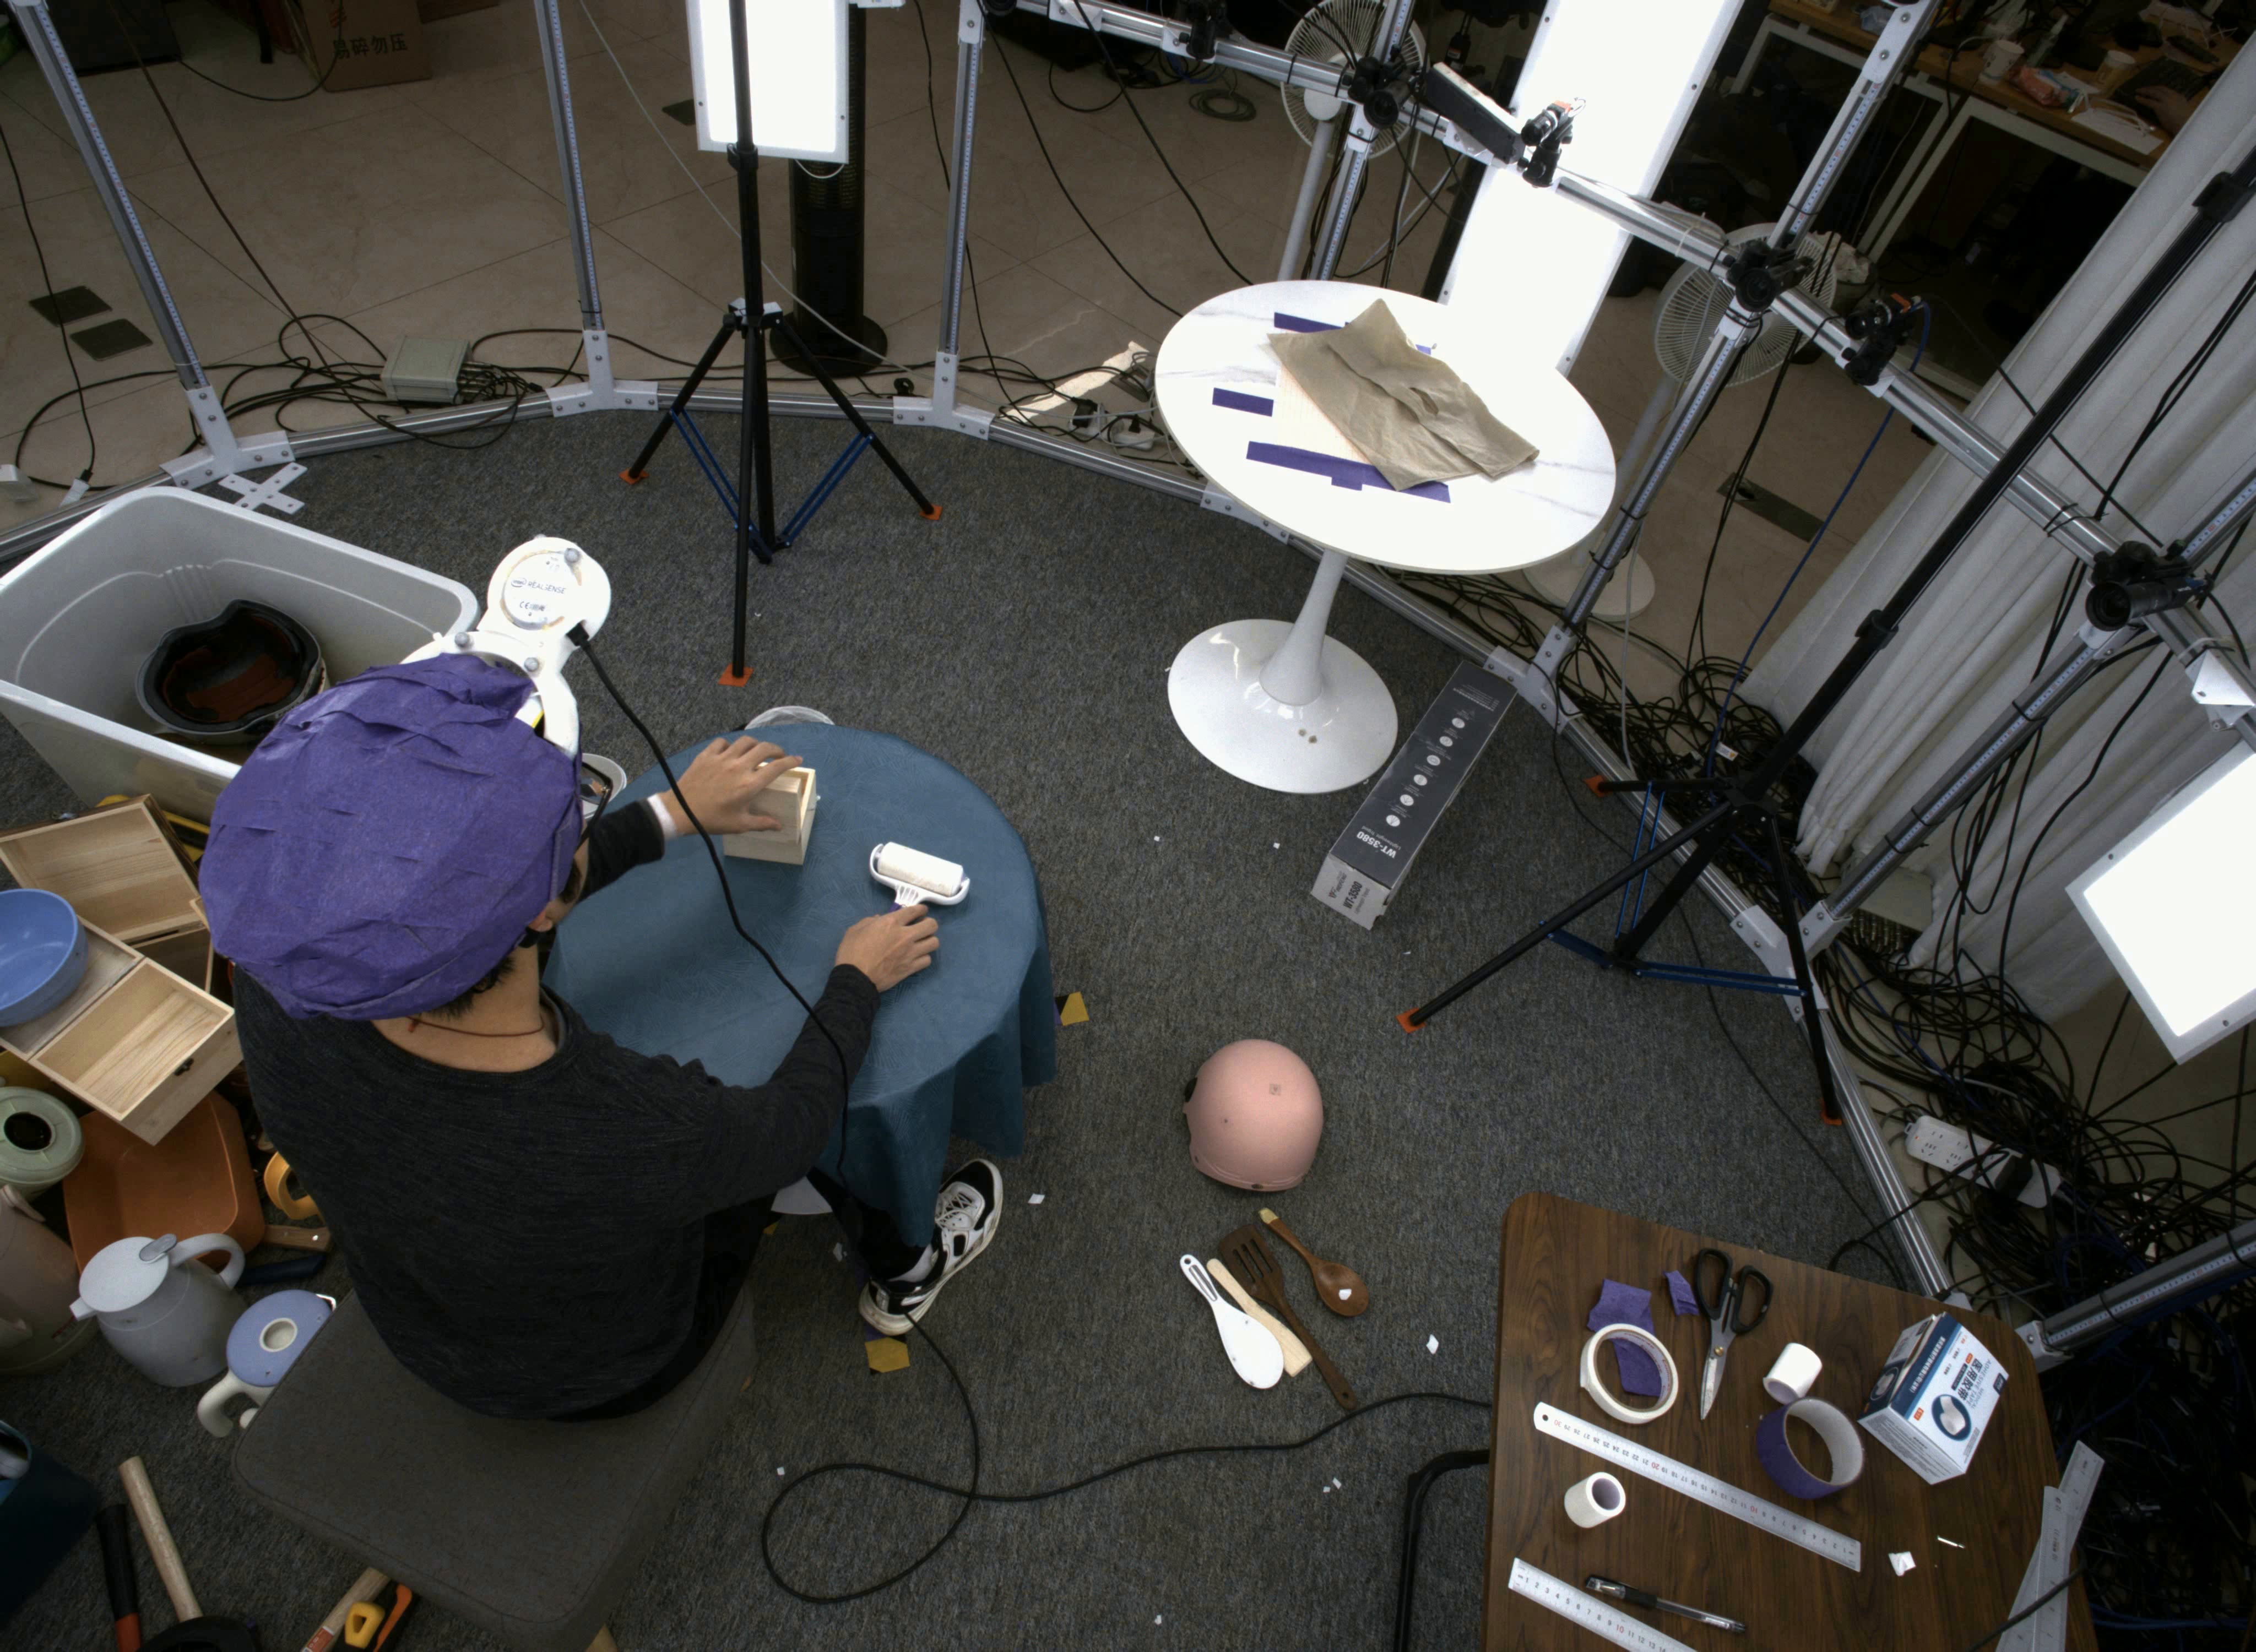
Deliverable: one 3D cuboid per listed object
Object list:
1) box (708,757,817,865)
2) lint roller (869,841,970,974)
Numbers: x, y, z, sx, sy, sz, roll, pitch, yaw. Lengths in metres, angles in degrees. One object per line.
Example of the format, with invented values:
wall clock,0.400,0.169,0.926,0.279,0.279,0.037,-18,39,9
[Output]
box,-0.455,-0.045,1.626,0.102,0.188,0.131,7,52,-7
lint roller,-0.288,0.102,1.647,0.132,0.051,0.179,21,49,0
